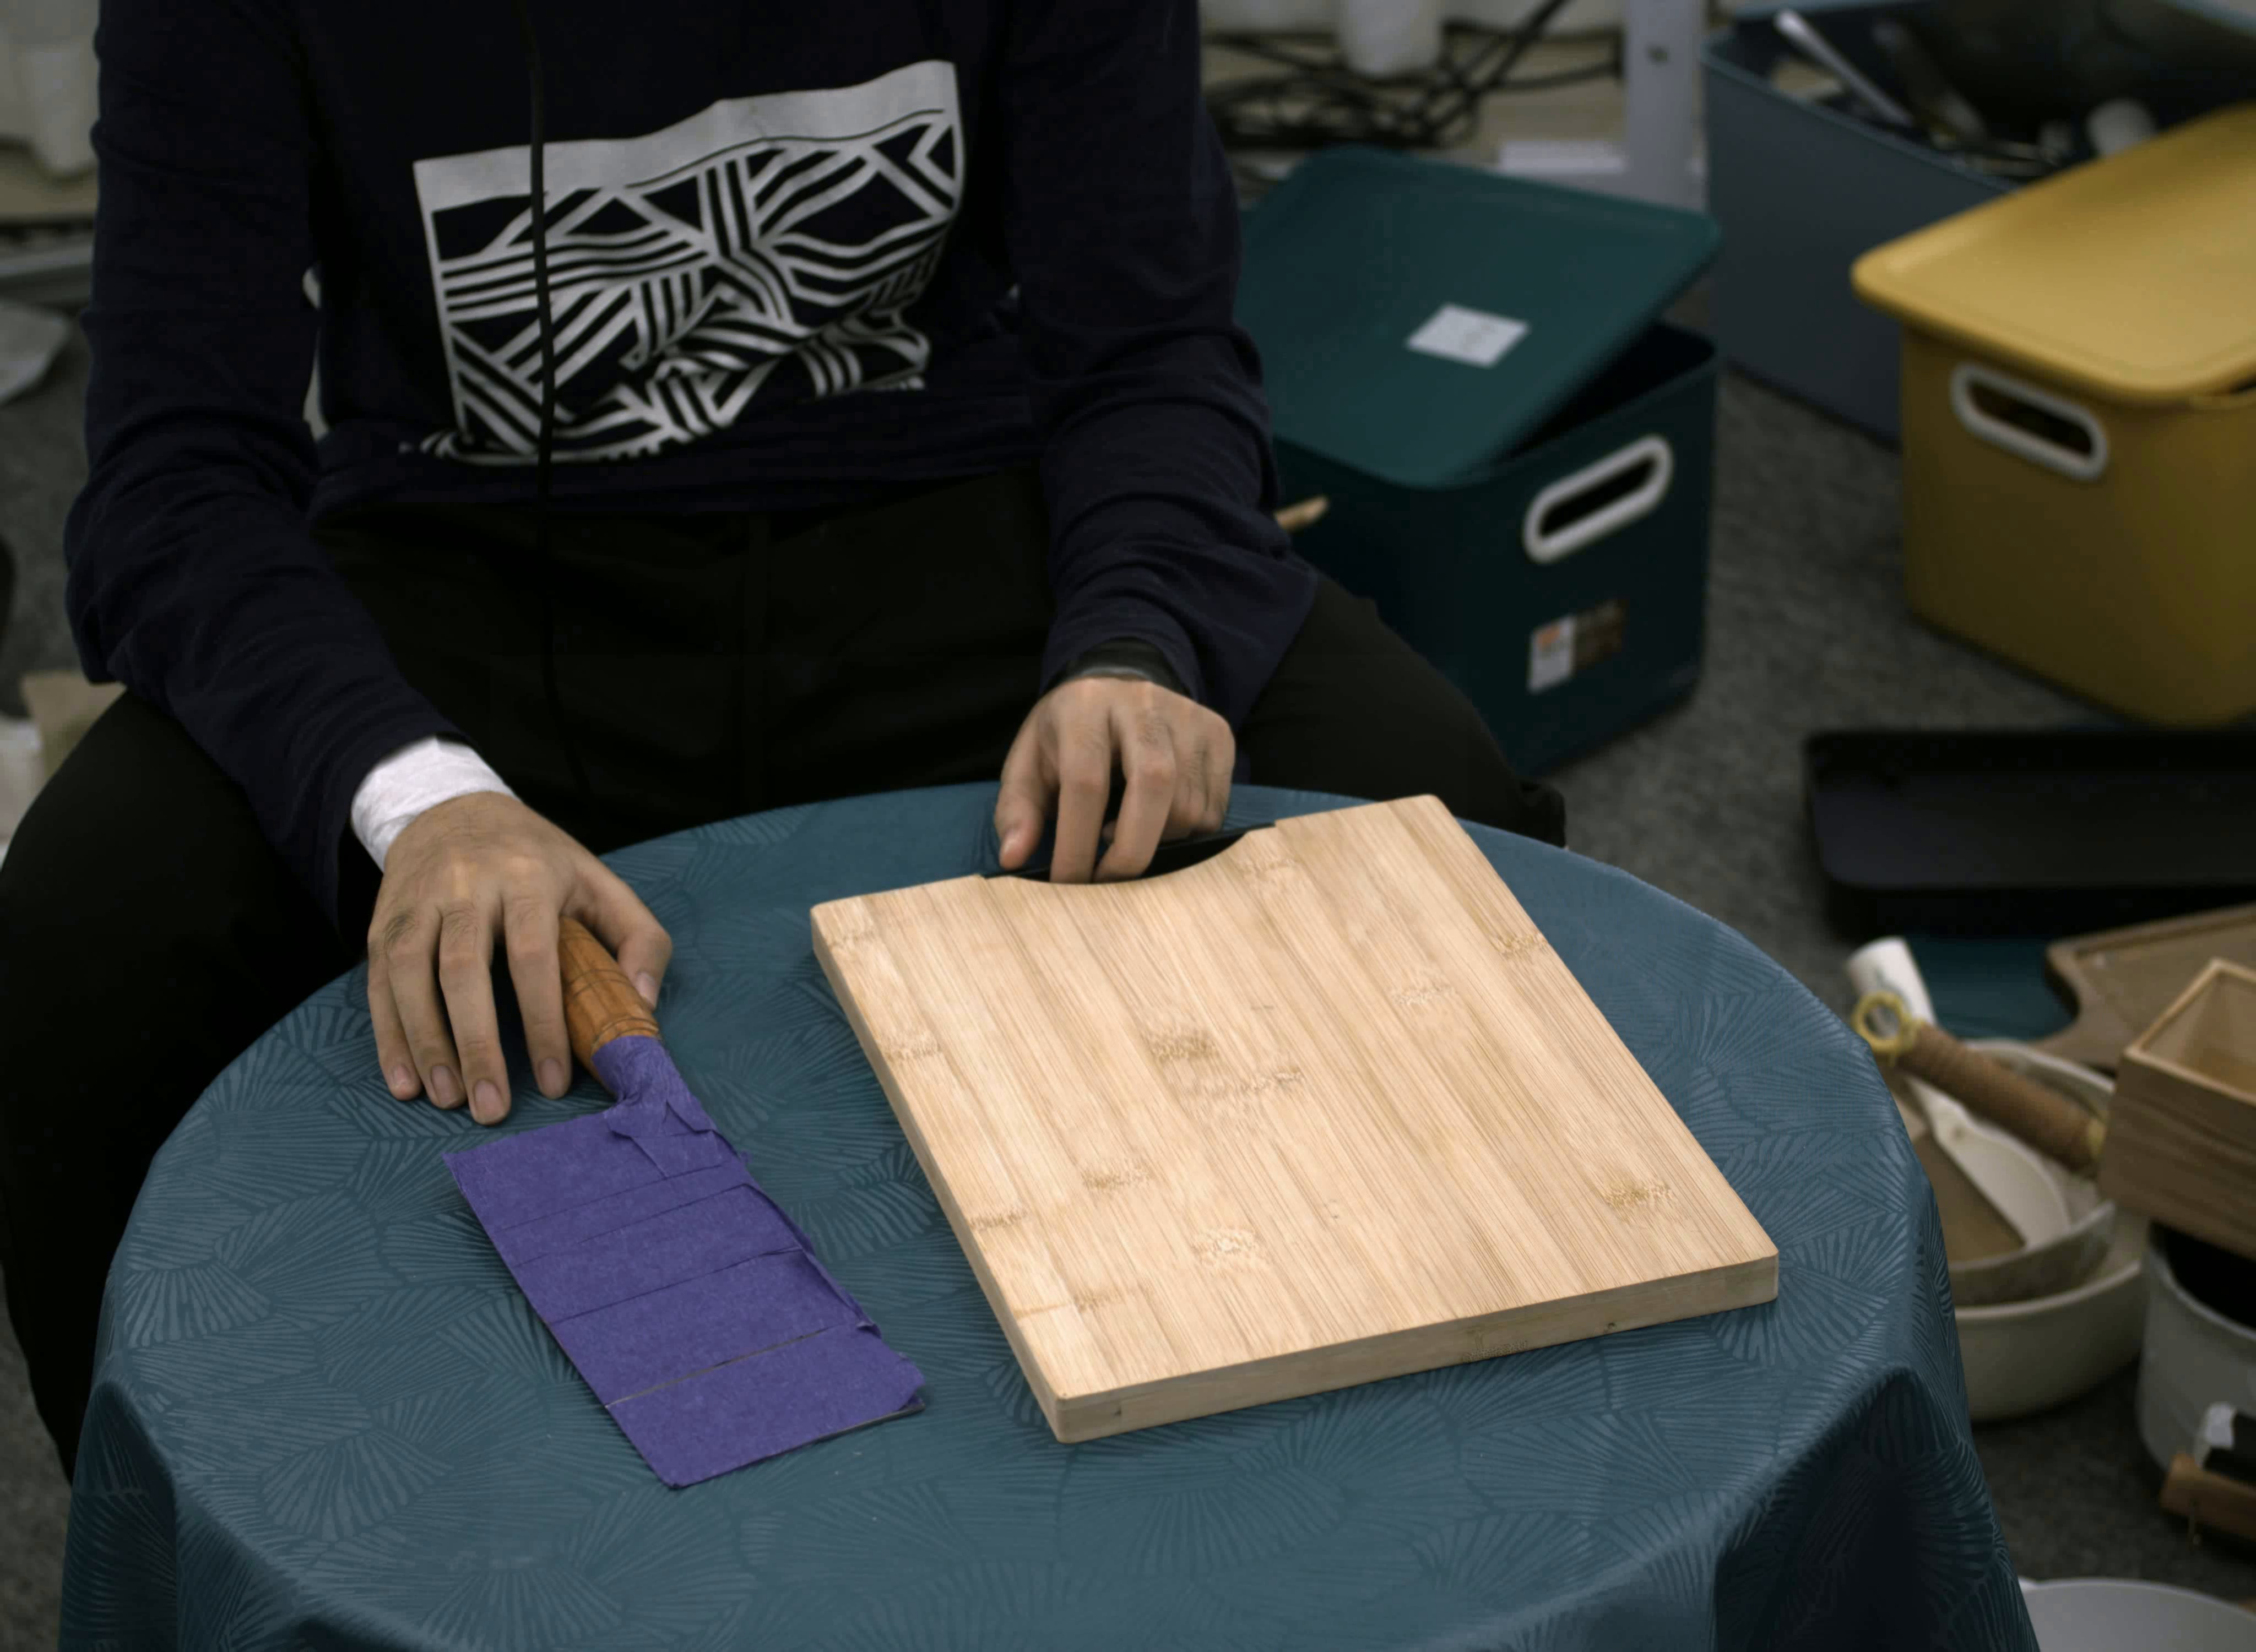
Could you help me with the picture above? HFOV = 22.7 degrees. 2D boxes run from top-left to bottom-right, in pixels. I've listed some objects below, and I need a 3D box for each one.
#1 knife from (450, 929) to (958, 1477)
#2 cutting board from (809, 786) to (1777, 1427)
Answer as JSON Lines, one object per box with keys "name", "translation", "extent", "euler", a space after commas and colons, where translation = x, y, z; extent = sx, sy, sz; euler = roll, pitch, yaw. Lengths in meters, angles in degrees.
{"name": "knife", "translation": [-0.166, 0.120, 1.851], "extent": [0.104, 0.032, 0.317], "euler": [-14, 30, -22]}
{"name": "cutting board", "translation": [0.045, 0.088, 1.904], "extent": [0.251, 0.023, 0.352], "euler": [-10, 28, -14]}
